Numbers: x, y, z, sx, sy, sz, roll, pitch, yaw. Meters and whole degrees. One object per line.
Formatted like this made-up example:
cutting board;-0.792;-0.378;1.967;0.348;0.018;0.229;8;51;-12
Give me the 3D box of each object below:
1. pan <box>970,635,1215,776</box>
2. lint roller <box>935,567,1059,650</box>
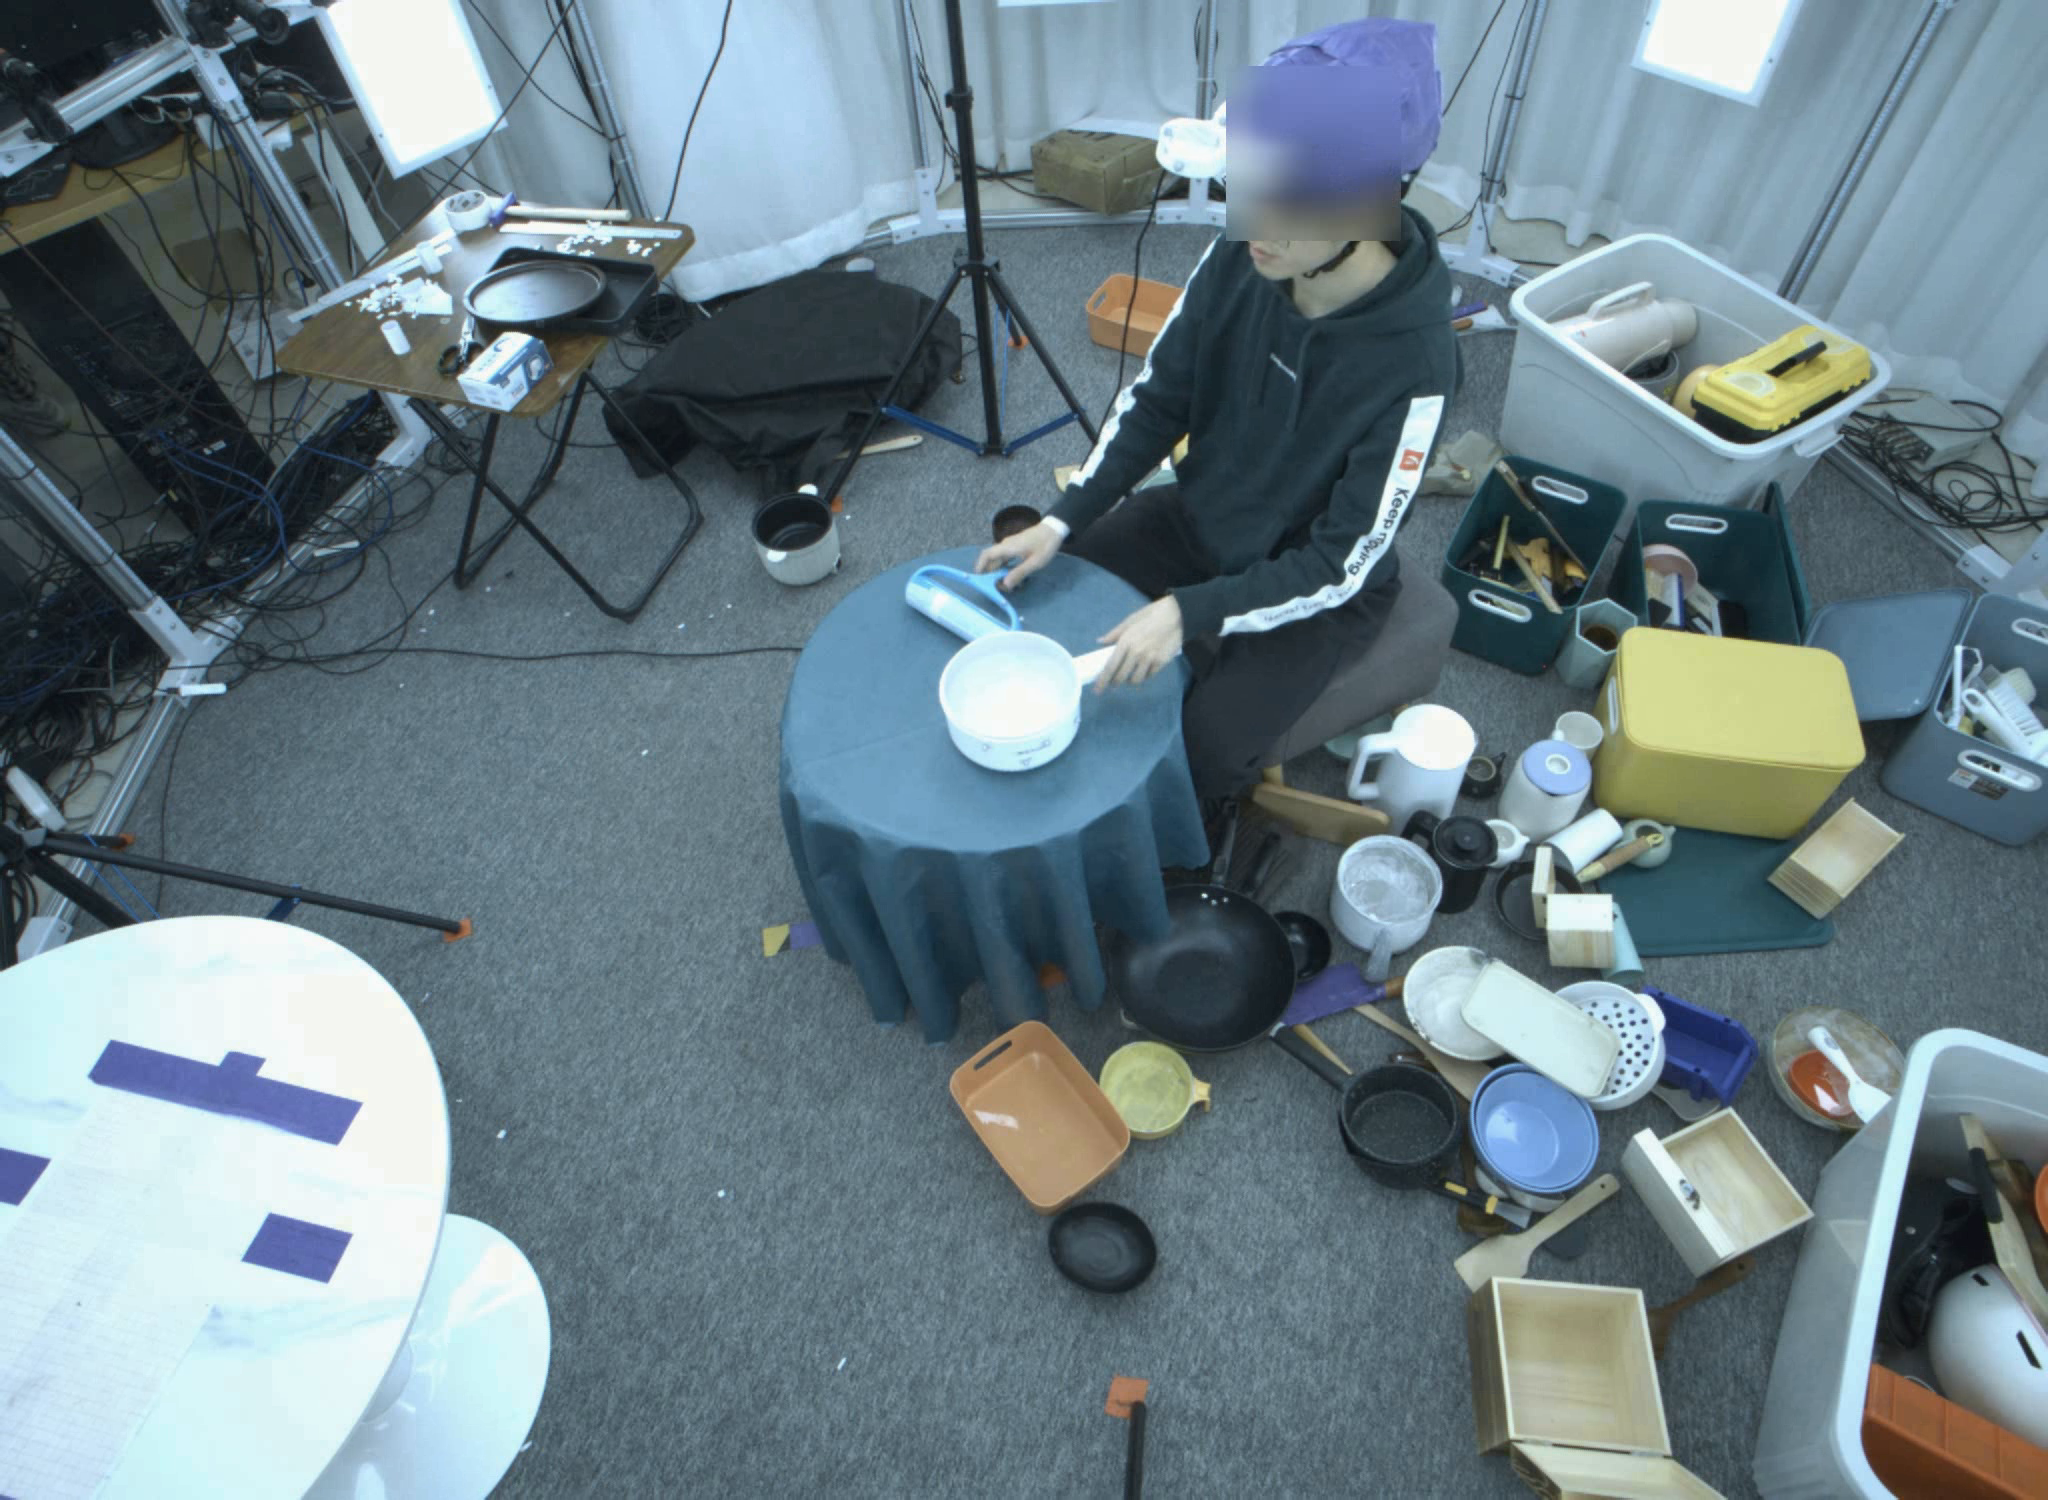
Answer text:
pan;0.100;-0.079;1.775;0.357;0.103;0.198;-15;55;-9
lint roller;-0.013;-0.241;1.920;0.225;0.069;0.181;32;62;24
